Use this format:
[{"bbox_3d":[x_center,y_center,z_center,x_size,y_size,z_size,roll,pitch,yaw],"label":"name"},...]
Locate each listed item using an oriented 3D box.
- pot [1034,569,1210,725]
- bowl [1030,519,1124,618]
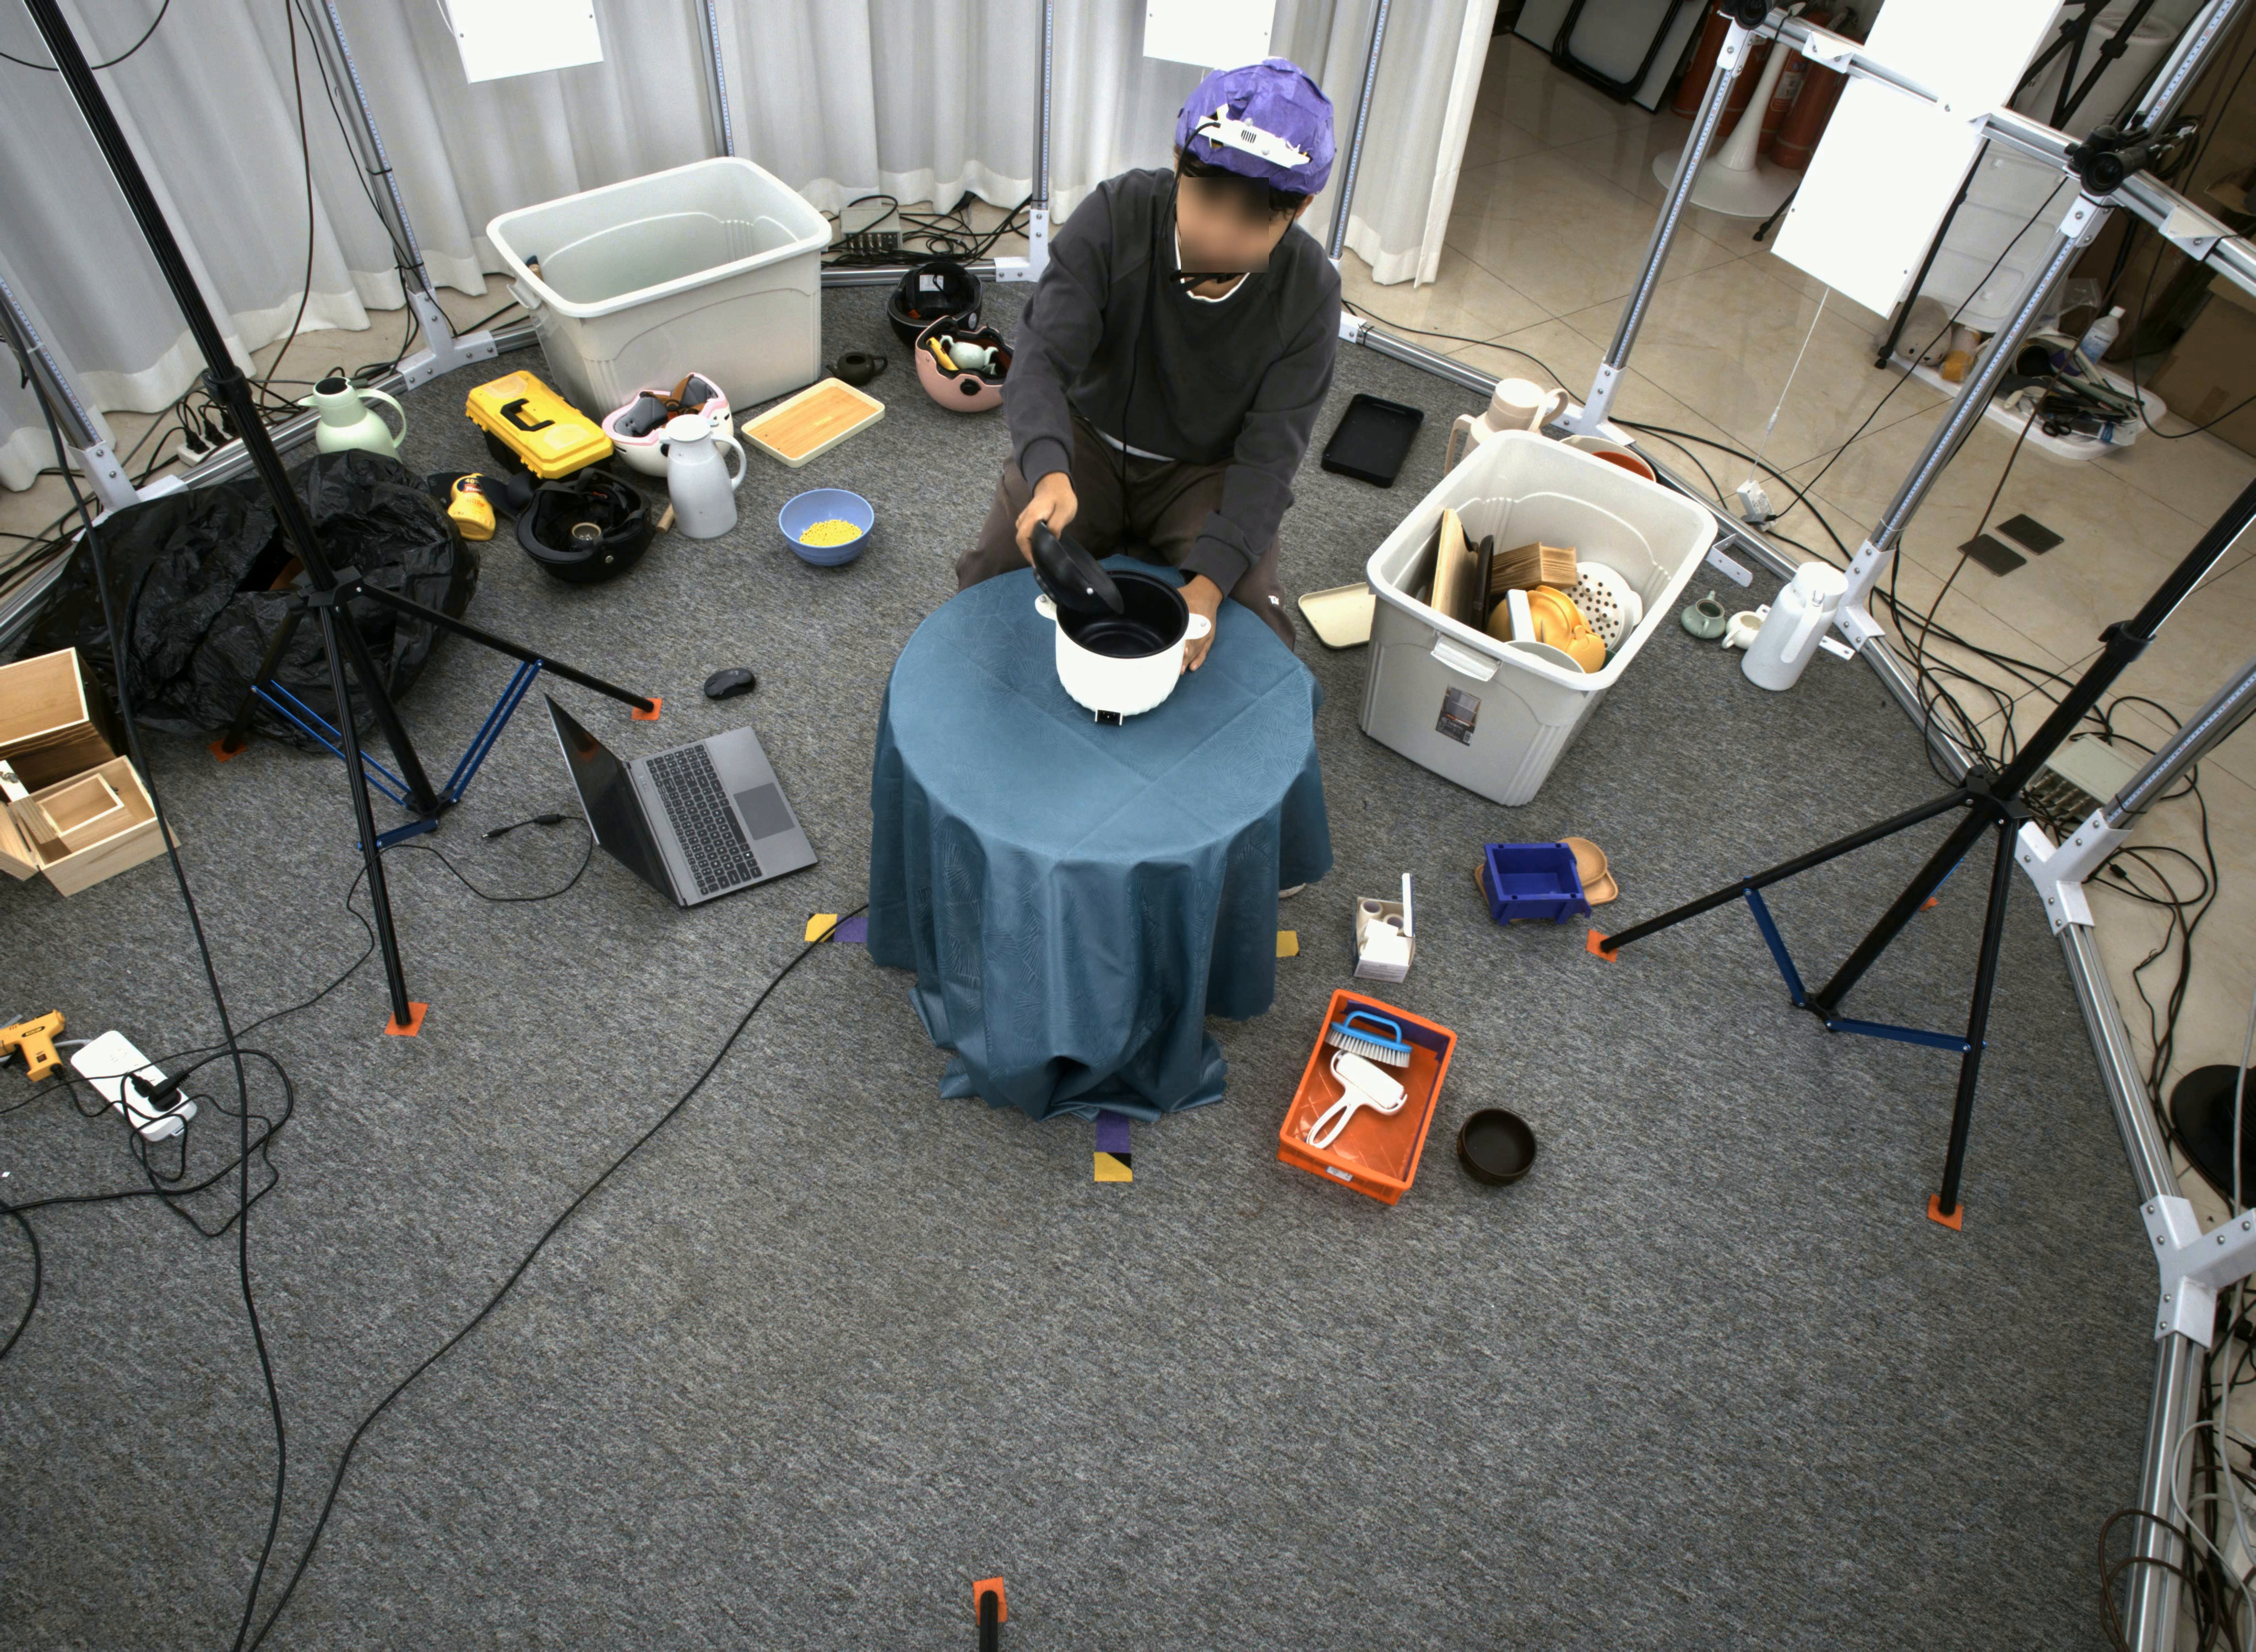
[{"bbox_3d":[-0.012,-0.253,1.795,0.240,0.139,0.195,8,52,1],"label":"pot"},{"bbox_3d":[-0.080,-0.332,1.703,0.066,0.137,0.172,-41,76,16],"label":"bowl"}]
